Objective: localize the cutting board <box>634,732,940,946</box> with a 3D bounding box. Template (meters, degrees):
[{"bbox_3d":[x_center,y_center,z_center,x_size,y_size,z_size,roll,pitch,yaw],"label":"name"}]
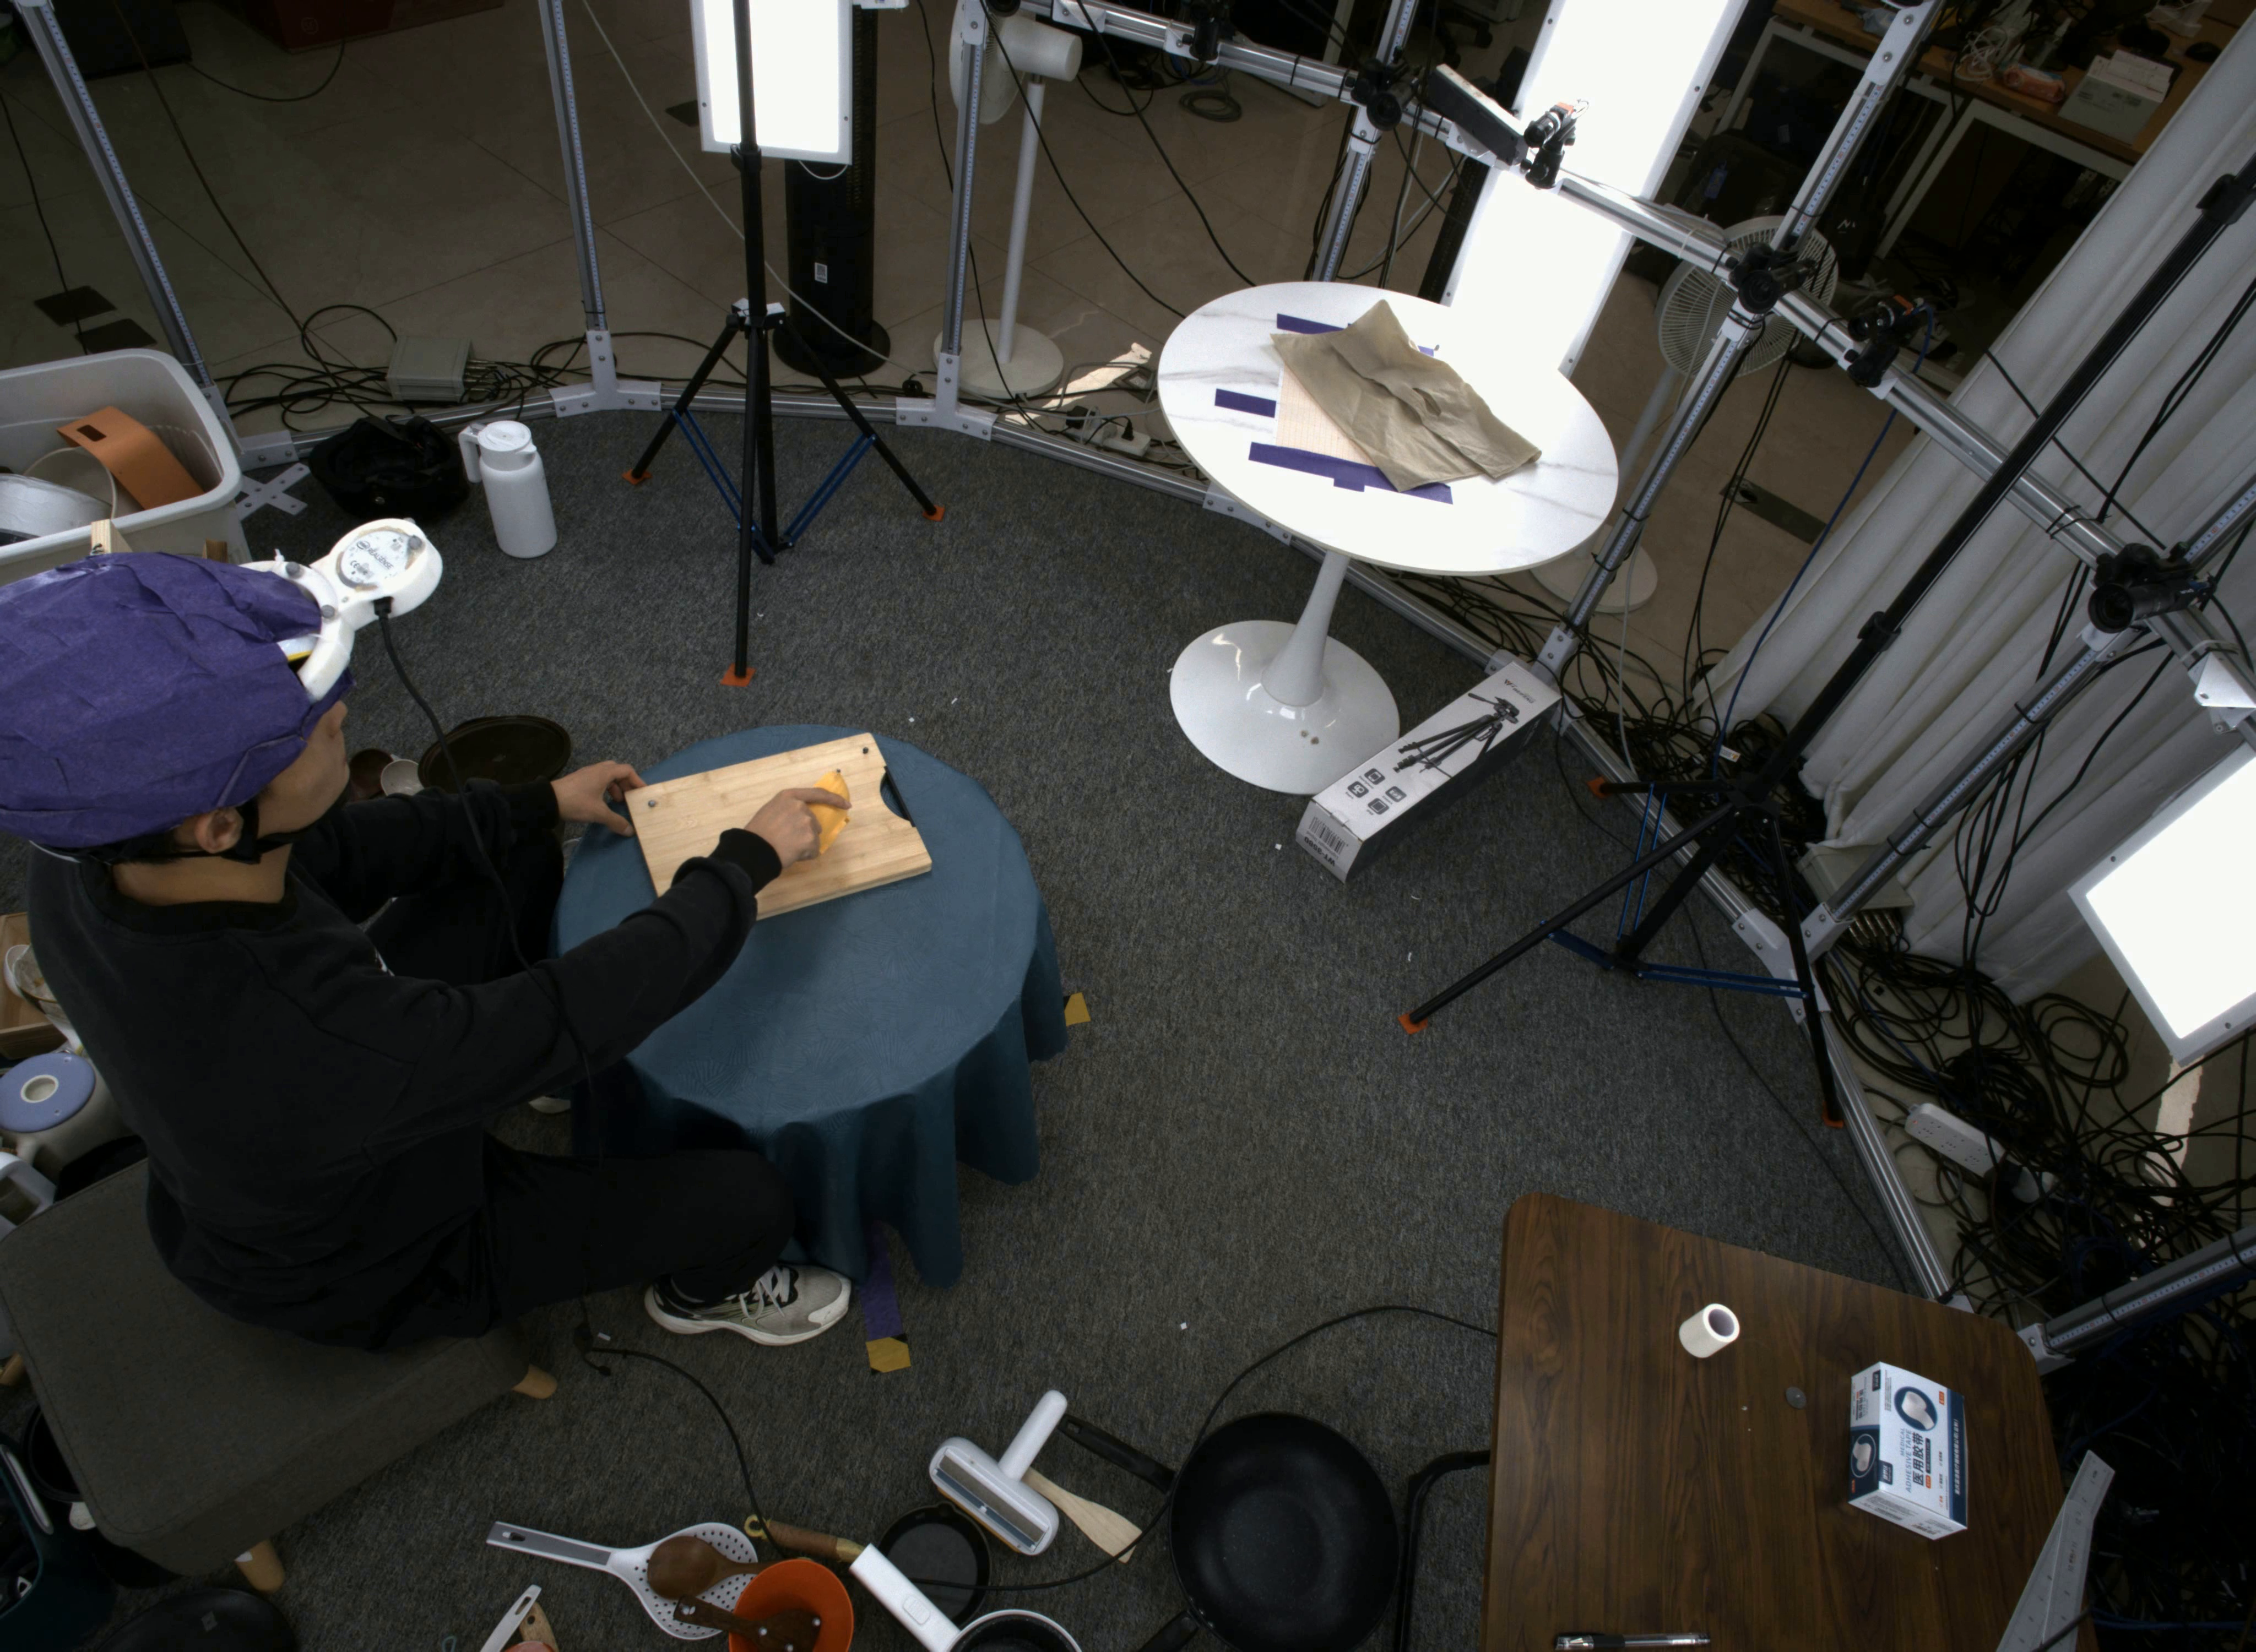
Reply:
[{"bbox_3d":[-0.454,0.006,1.706,0.350,0.024,0.244,-17,60,-25],"label":"cutting board"}]

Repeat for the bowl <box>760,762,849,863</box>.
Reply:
[{"bbox_3d":[-0.392,-0.005,1.621,0.060,0.145,0.144,38,51,-7],"label":"bowl"}]
